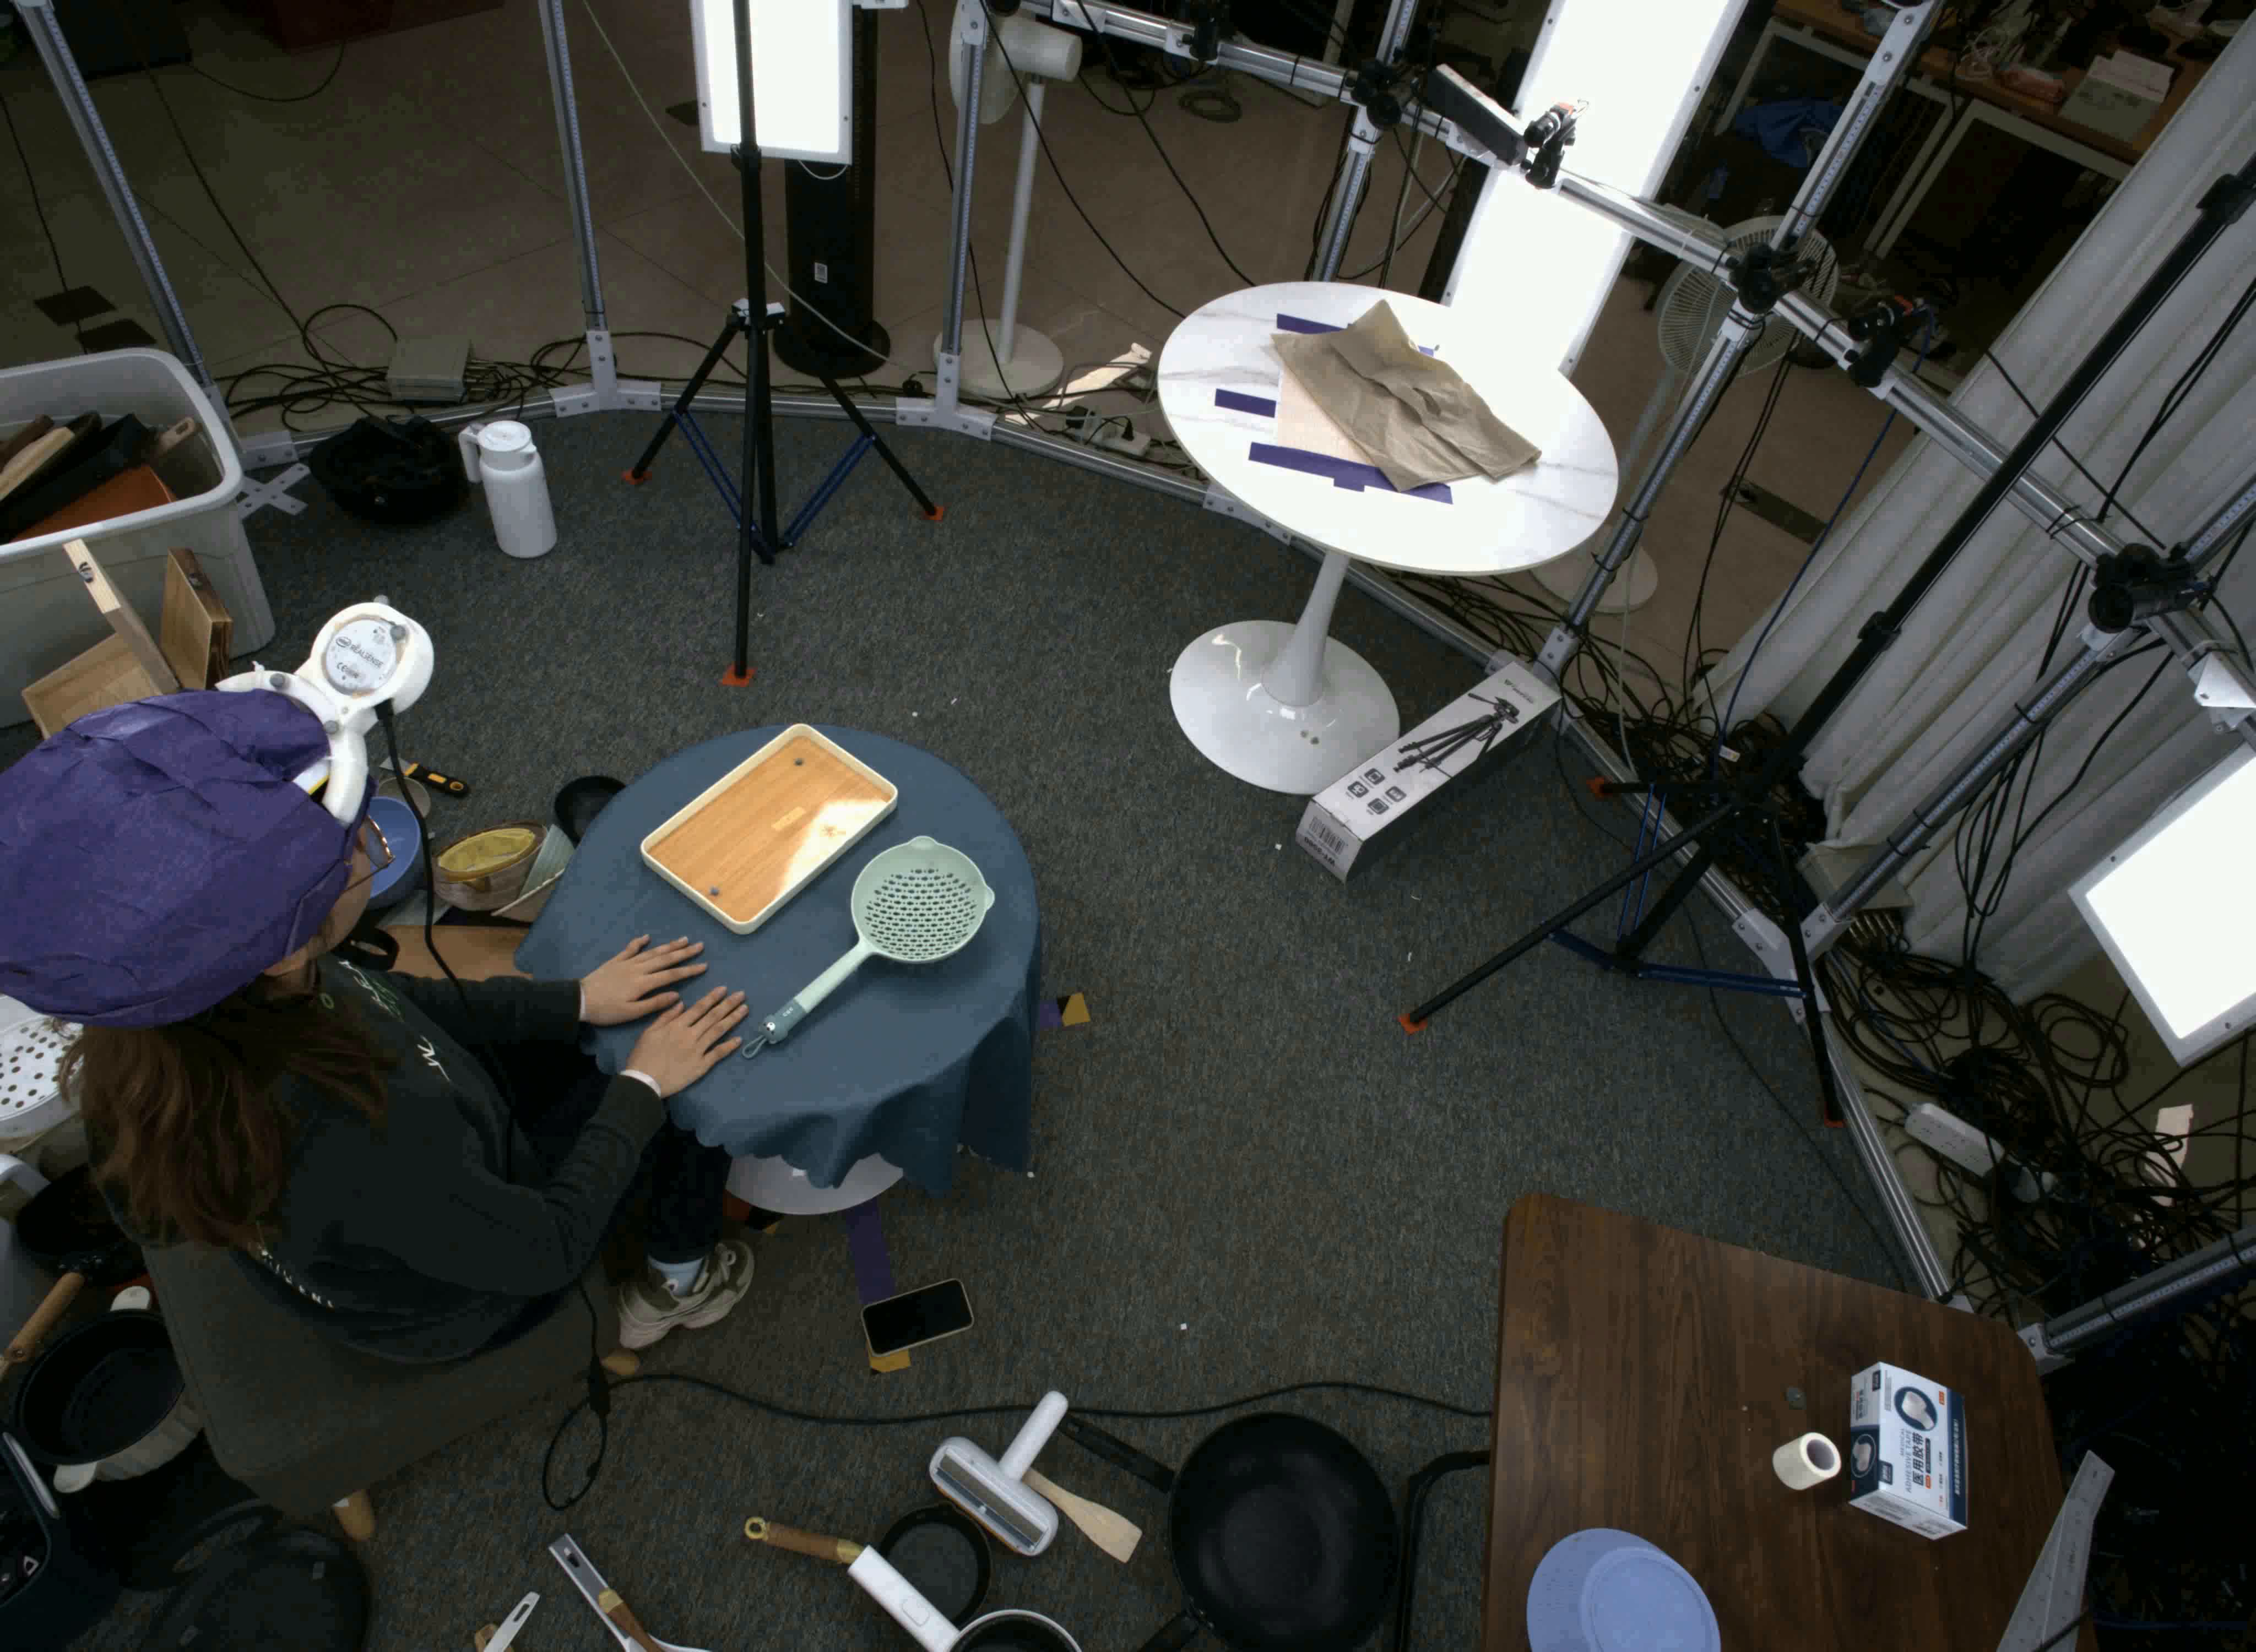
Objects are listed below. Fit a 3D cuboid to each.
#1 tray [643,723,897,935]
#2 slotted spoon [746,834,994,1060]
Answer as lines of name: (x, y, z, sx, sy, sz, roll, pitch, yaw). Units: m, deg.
tray: (-0.467, -0.004, 1.704, 0.188, 0.028, 0.300, 35, 53, 12)
slotted spoon: (-0.326, 0.154, 1.598, 0.165, 0.077, 0.359, 39, 54, 17)
